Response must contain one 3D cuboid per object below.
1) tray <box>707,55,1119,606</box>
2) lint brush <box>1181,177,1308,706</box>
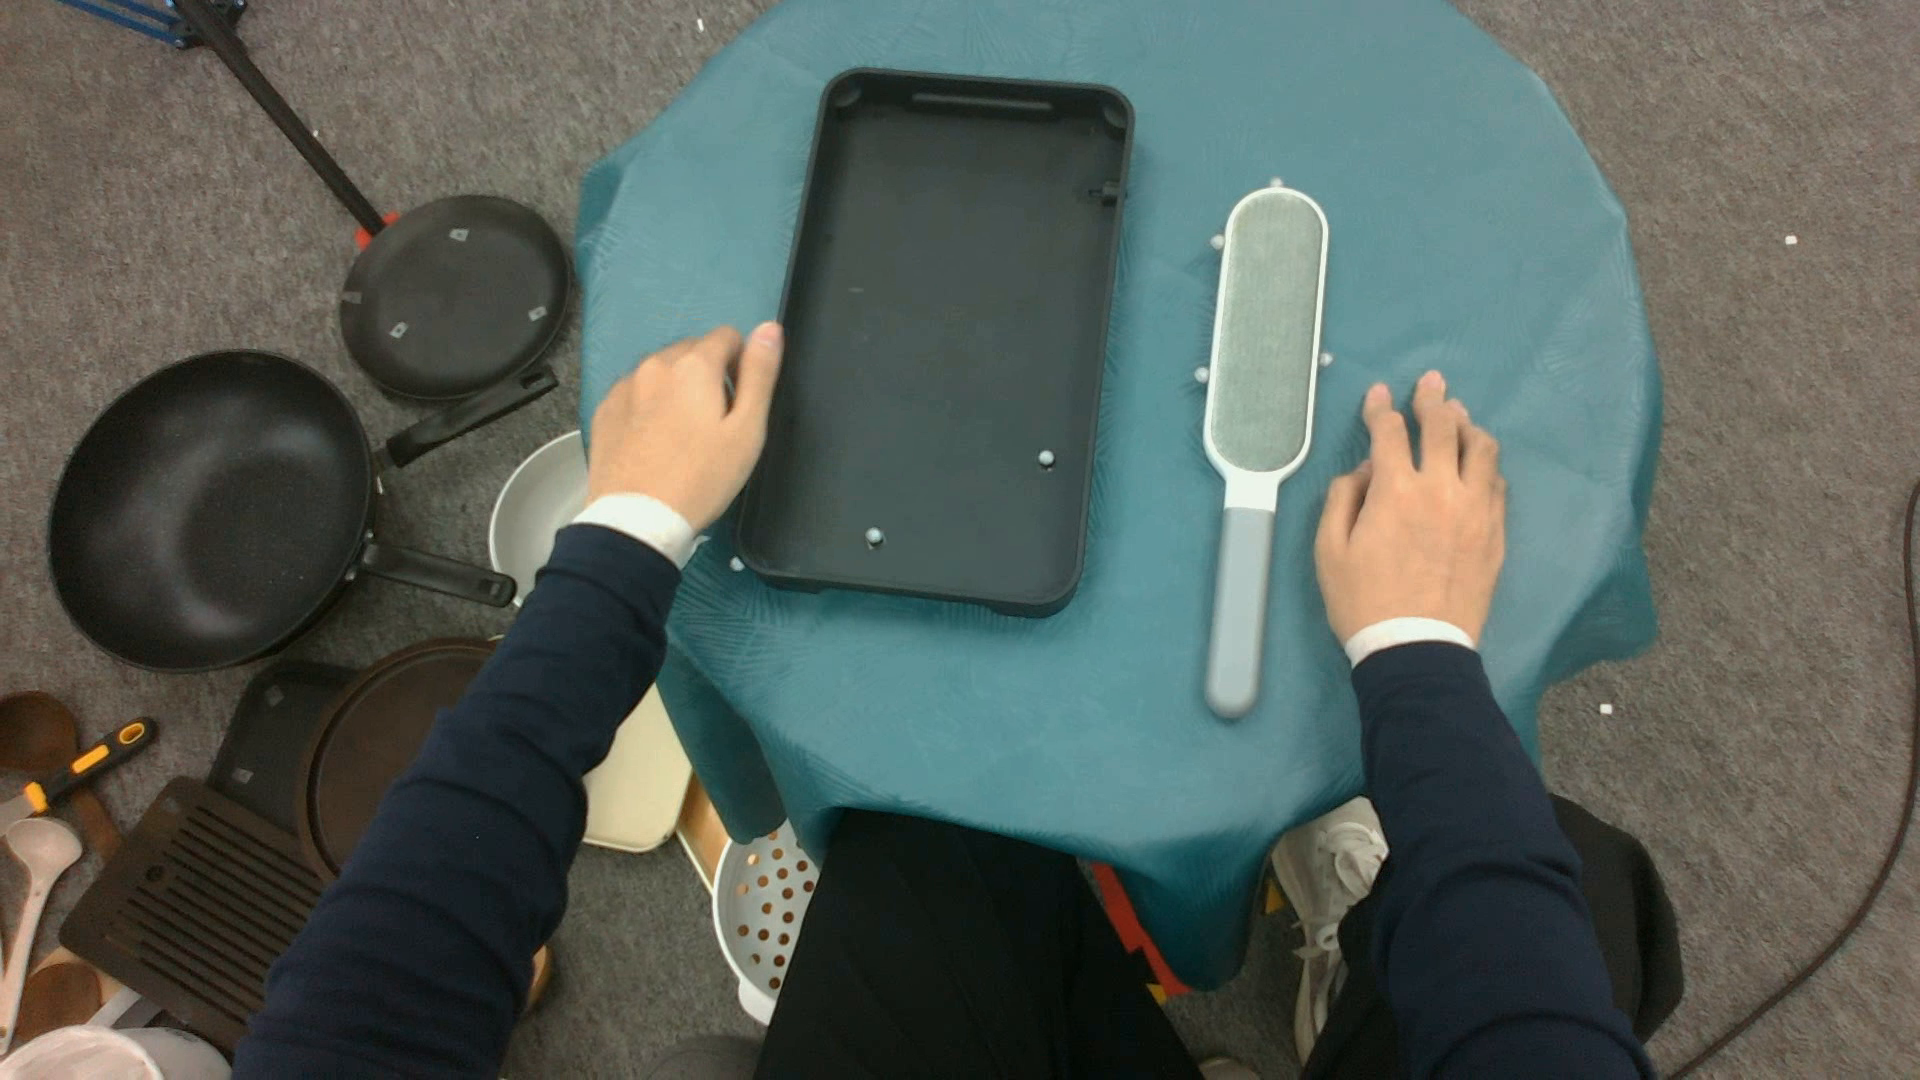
[{"bbox_3d":[-0.019,-0.124,0.765,0.184,0.037,0.319,7,70,5],"label":"tray"},{"bbox_3d":[0.148,-0.062,0.737,0.060,0.021,0.310,9,70,1],"label":"lint brush"}]
